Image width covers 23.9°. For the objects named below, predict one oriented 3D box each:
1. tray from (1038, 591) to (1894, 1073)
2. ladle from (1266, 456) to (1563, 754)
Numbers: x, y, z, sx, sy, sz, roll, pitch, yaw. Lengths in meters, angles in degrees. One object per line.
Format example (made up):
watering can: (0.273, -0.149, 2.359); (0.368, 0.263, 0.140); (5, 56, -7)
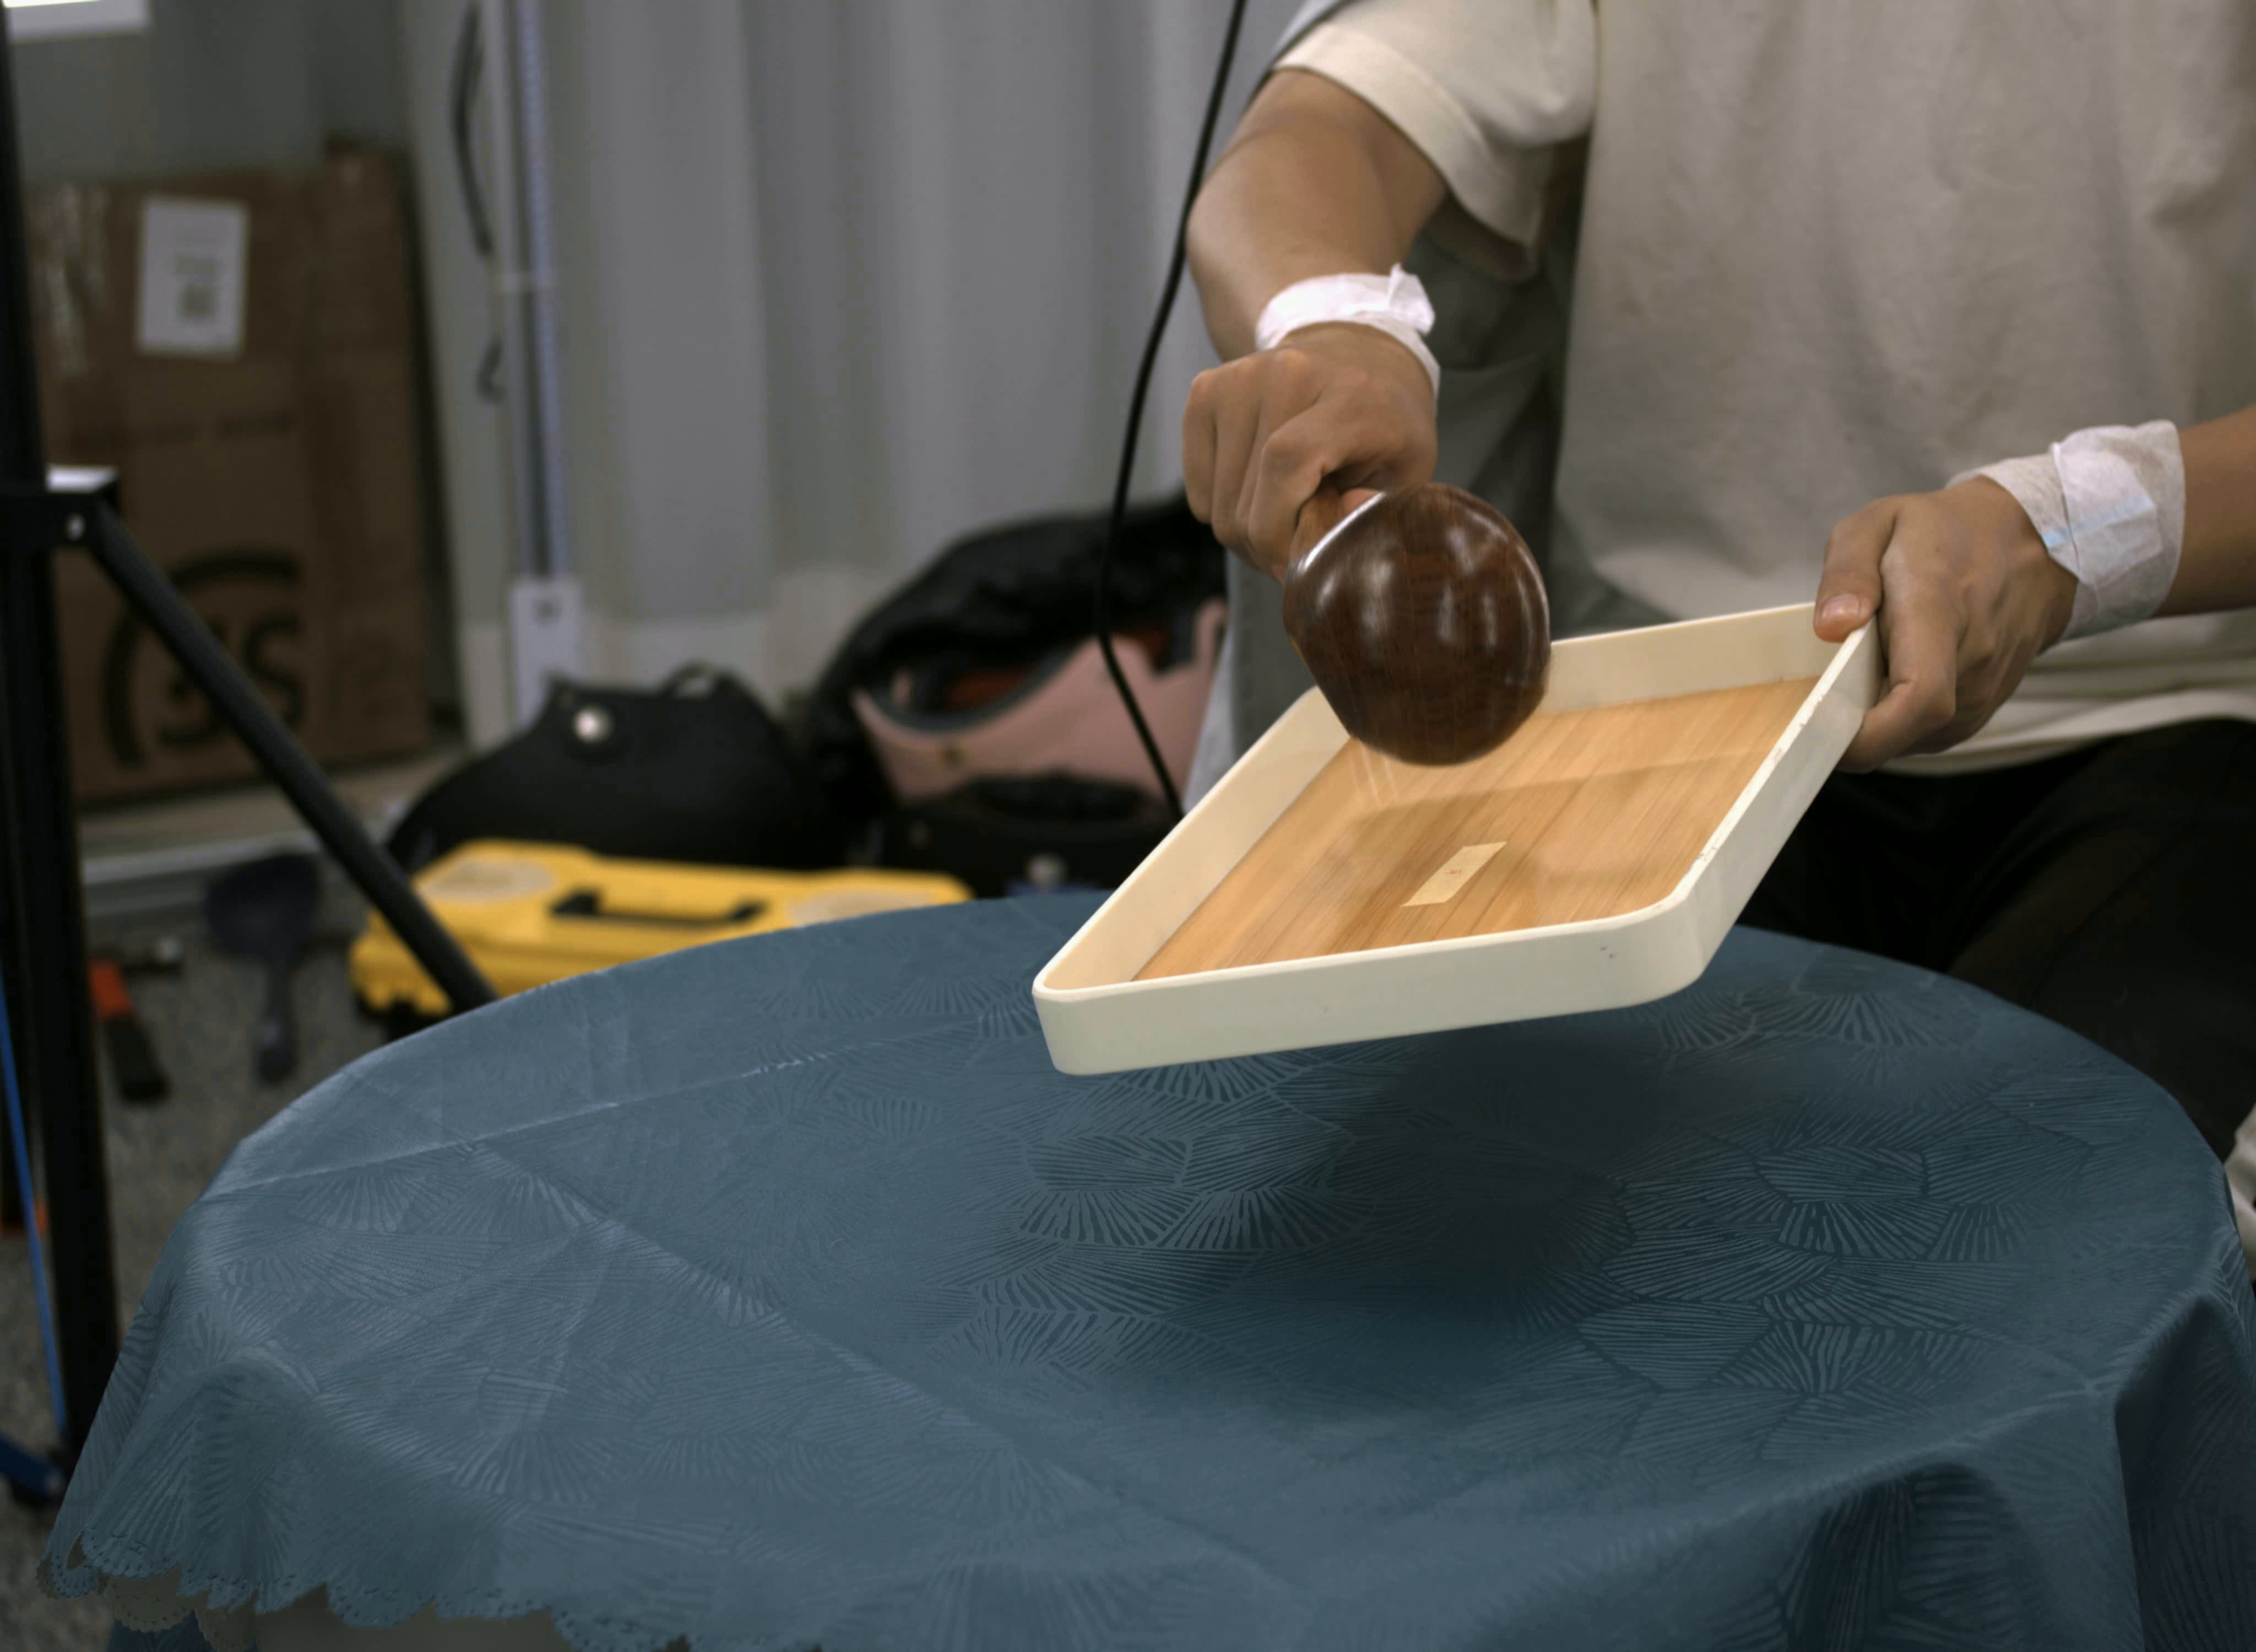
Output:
tray: (0.106, -0.001, 1.545); (0.194, 0.027, 0.297); (-9, 16, 23)
ladle: (0.084, -0.082, 1.601); (0.076, 0.082, 0.274); (10, 11, -1)
